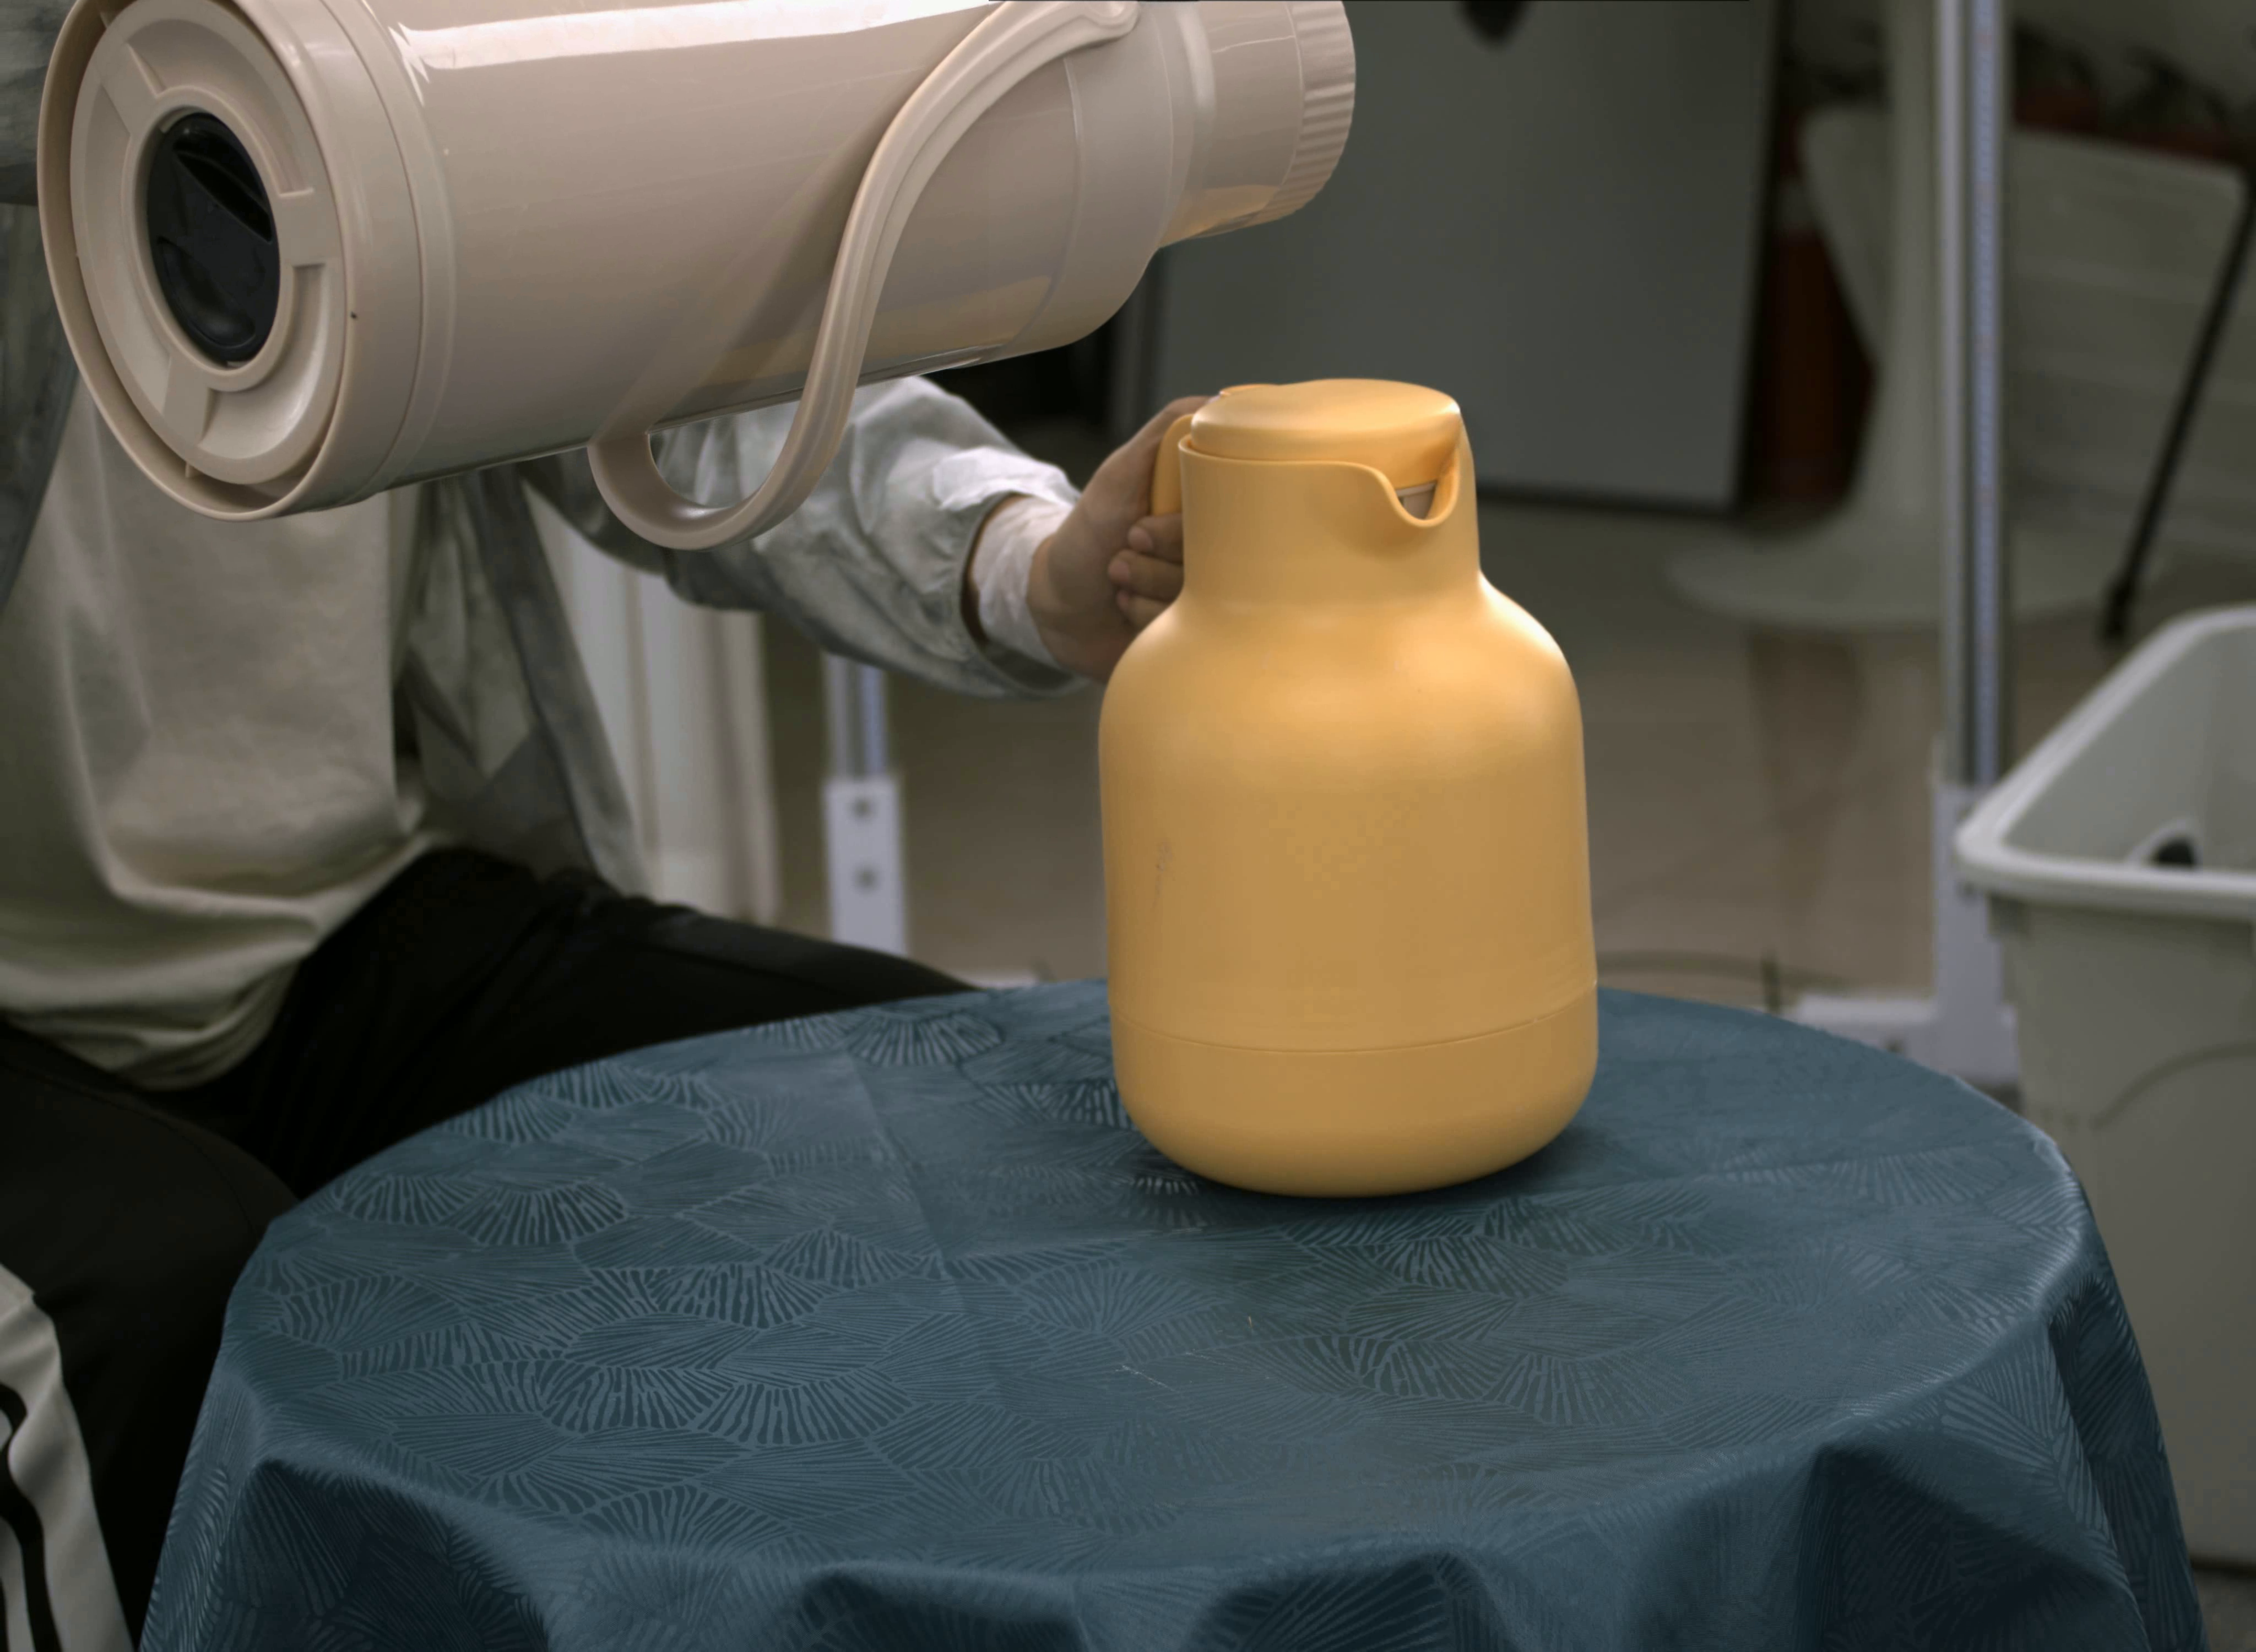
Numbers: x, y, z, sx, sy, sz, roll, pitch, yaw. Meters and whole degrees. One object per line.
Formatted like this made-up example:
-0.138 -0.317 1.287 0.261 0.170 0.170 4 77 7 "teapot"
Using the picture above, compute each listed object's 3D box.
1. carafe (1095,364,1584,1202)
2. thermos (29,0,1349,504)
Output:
0.062 -0.022 1.788 0.160 0.263 0.204 -6 14 -20 "carafe"
-0.118 -0.220 1.604 0.397 0.209 0.177 -16 -9 -37 "thermos"
